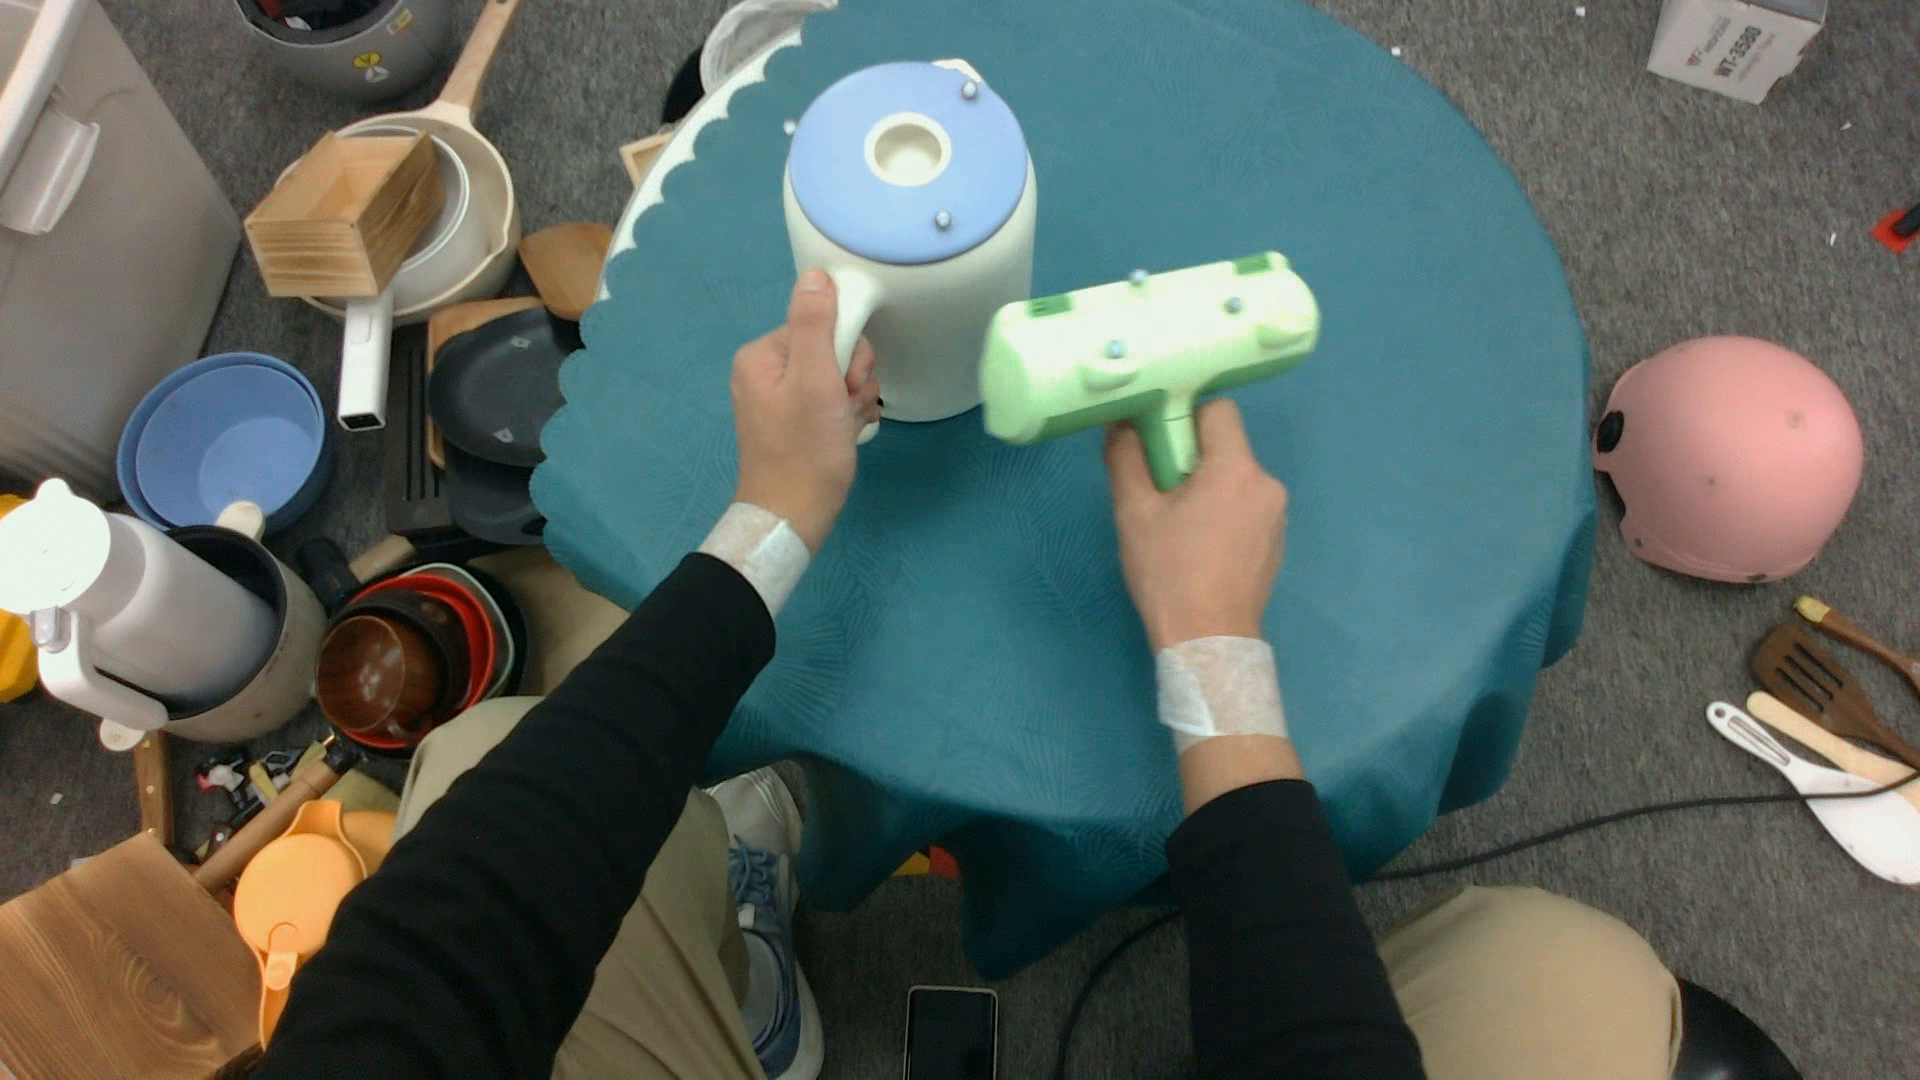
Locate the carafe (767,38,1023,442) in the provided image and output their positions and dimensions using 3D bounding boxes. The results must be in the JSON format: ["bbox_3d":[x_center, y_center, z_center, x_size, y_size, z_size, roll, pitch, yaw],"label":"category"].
[{"bbox_3d":[-0.043,-0.146,0.744,0.132,0.182,0.191,21,72,8],"label":"carafe"}]

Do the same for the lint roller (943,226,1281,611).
[{"bbox_3d":[0.101,-0.053,0.693,0.199,0.082,0.183,-21,94,-31],"label":"lint roller"}]
